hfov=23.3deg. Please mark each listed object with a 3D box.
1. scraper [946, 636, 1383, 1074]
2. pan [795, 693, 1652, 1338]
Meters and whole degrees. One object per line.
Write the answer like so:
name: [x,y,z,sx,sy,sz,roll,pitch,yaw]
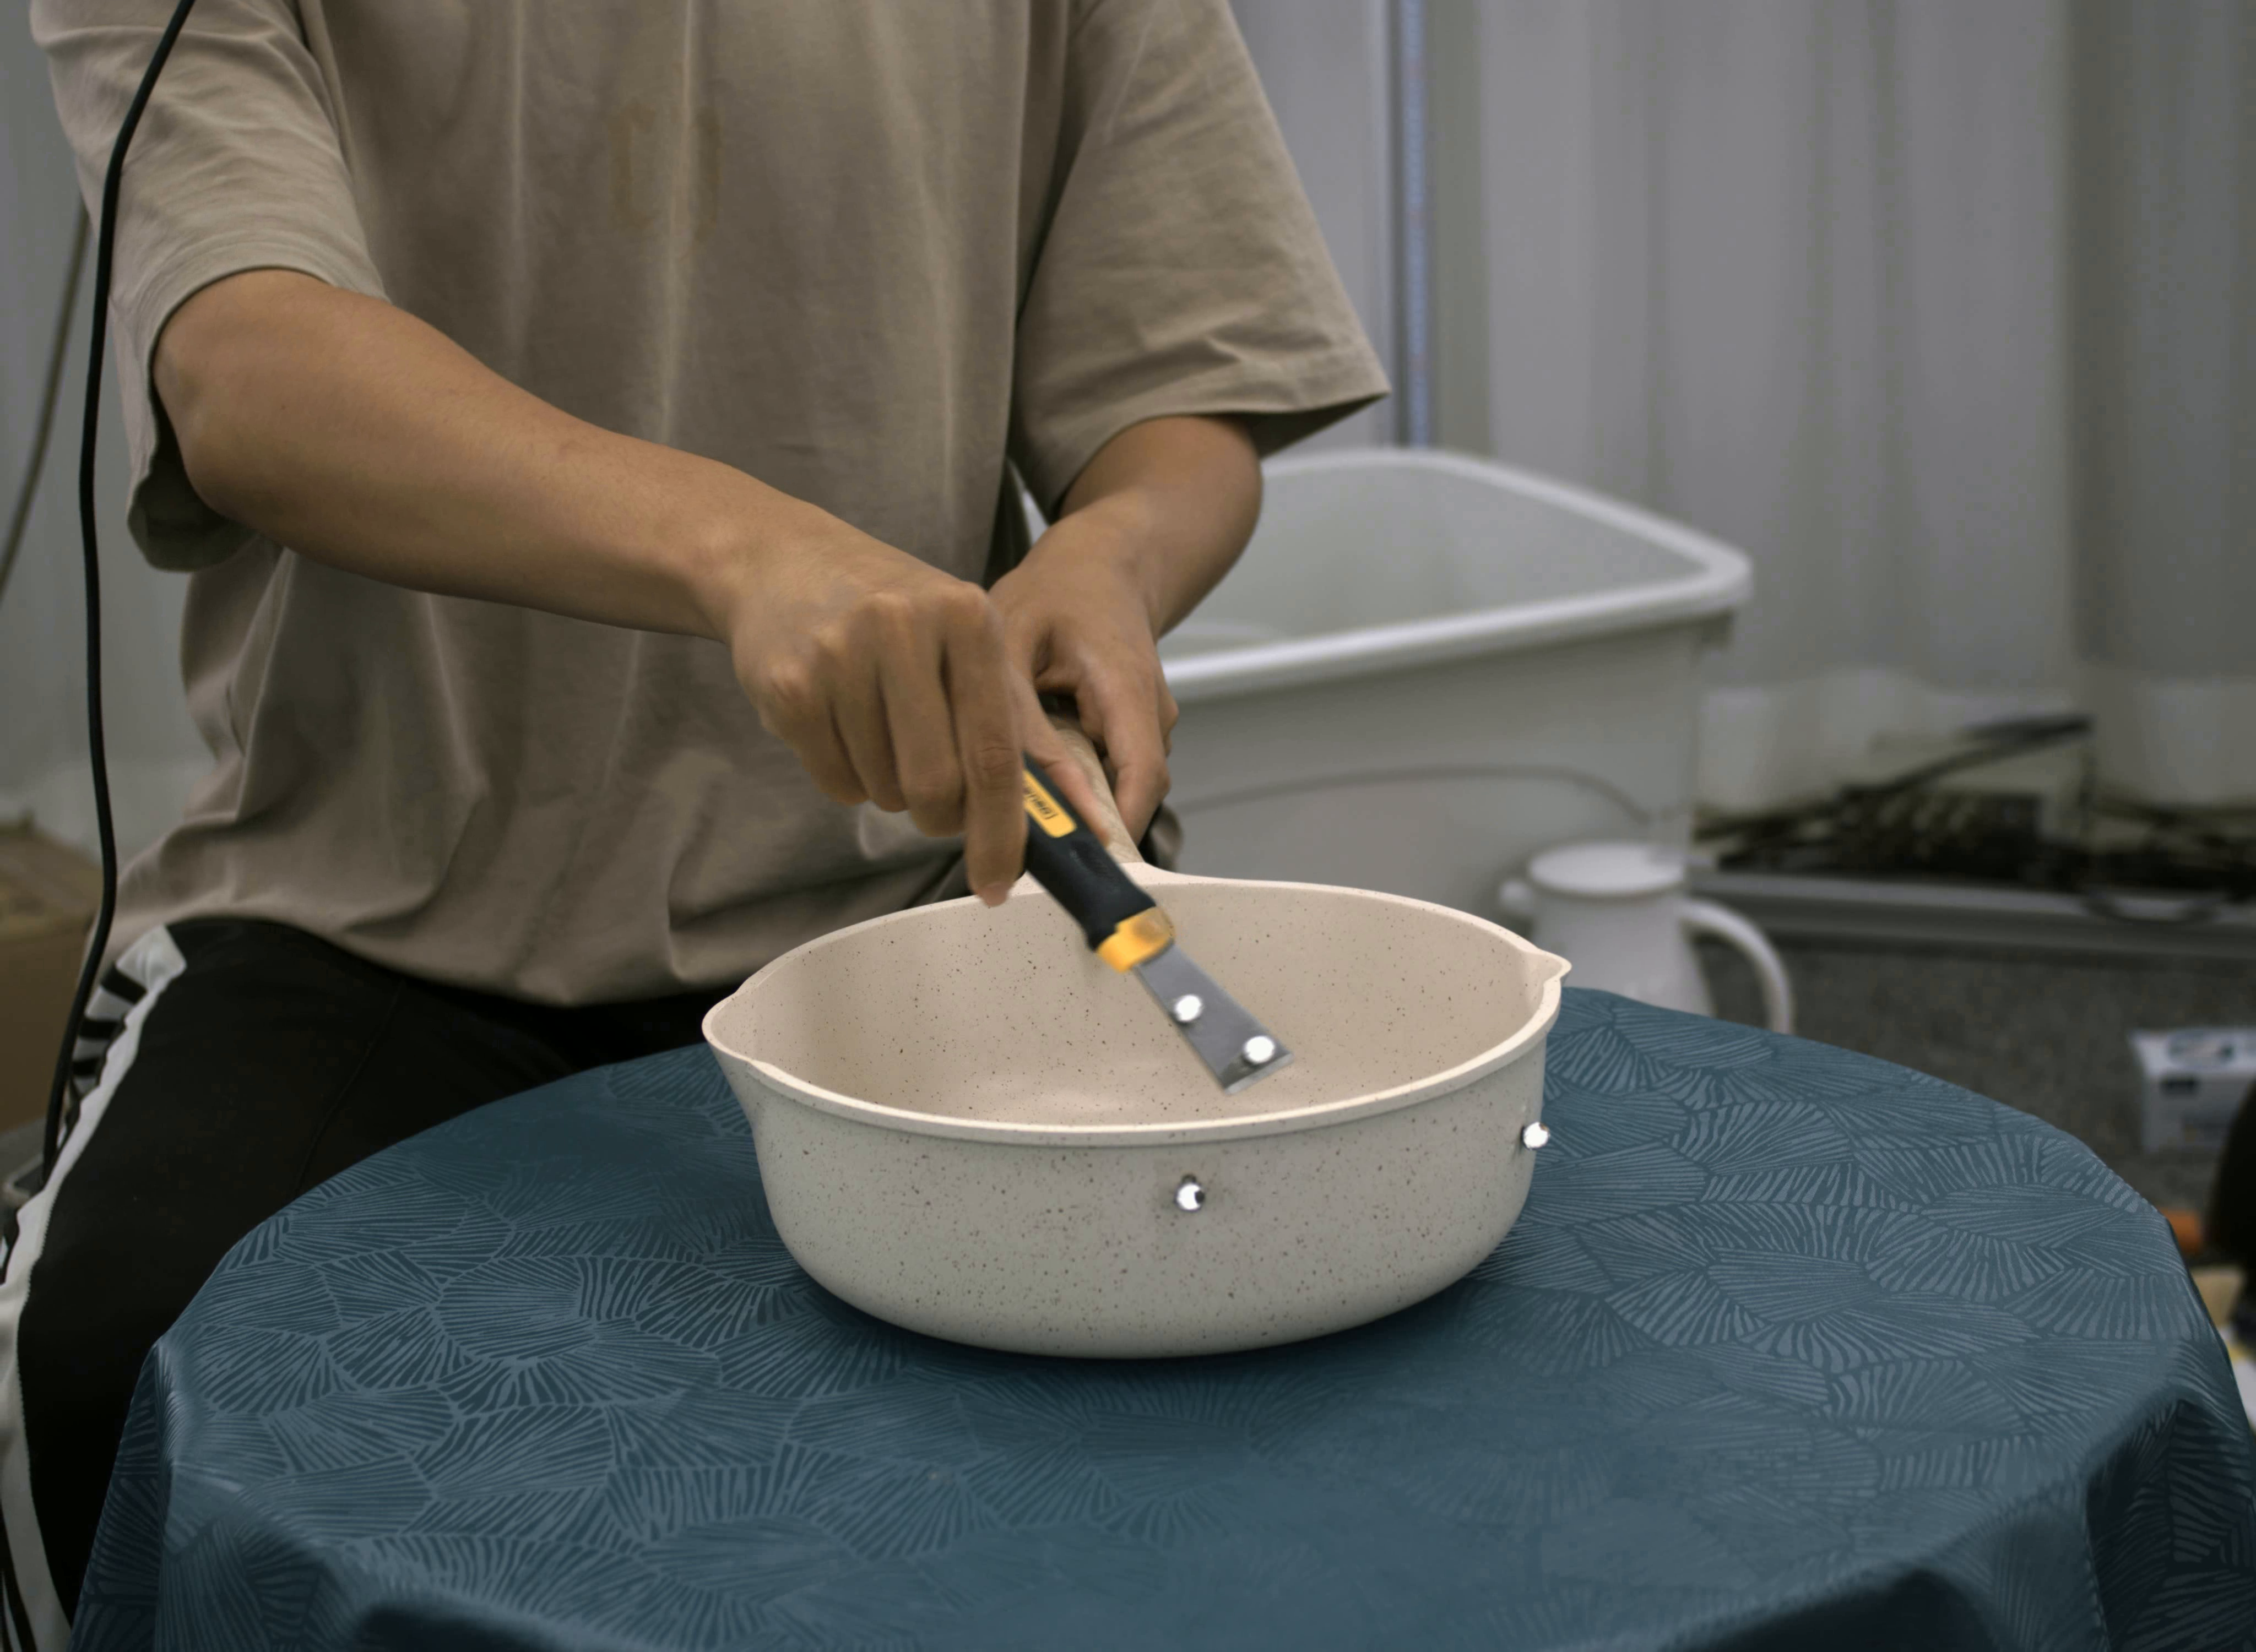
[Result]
scraper: [0.007,0.007,1.625,0.172,0.015,0.039,47,46,14]
pan: [0.020,0.054,1.739,0.262,0.101,0.438,-7,15,-6]
